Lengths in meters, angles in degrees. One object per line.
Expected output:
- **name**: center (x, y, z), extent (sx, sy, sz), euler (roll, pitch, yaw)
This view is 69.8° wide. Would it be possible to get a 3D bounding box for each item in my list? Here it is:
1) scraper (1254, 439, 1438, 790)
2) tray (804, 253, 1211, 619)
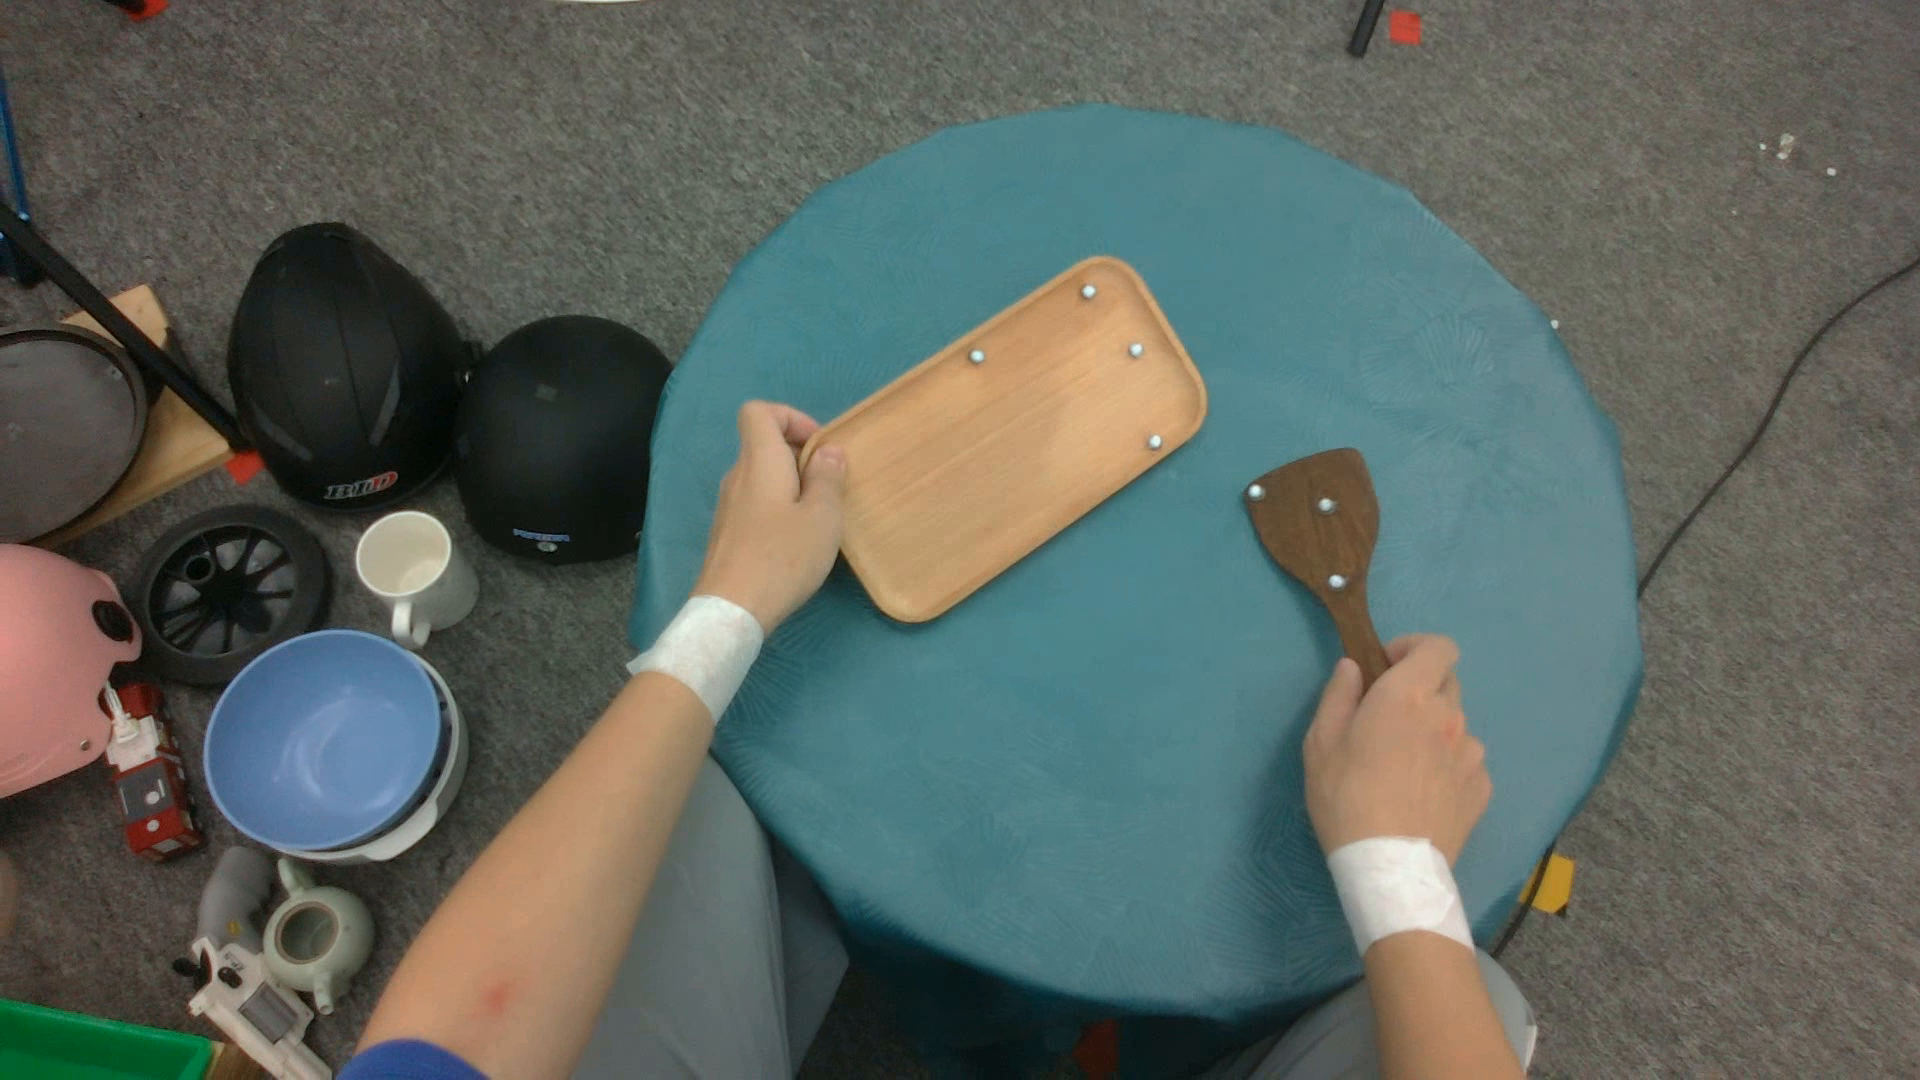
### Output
- **scraper**: center (0.230, 0.041, 0.793), extent (0.075, 0.011, 0.212), euler (-21, 62, 19)
- **tray**: center (0.033, -0.064, 0.820), extent (0.251, 0.023, 0.130), euler (-34, 96, -16)
